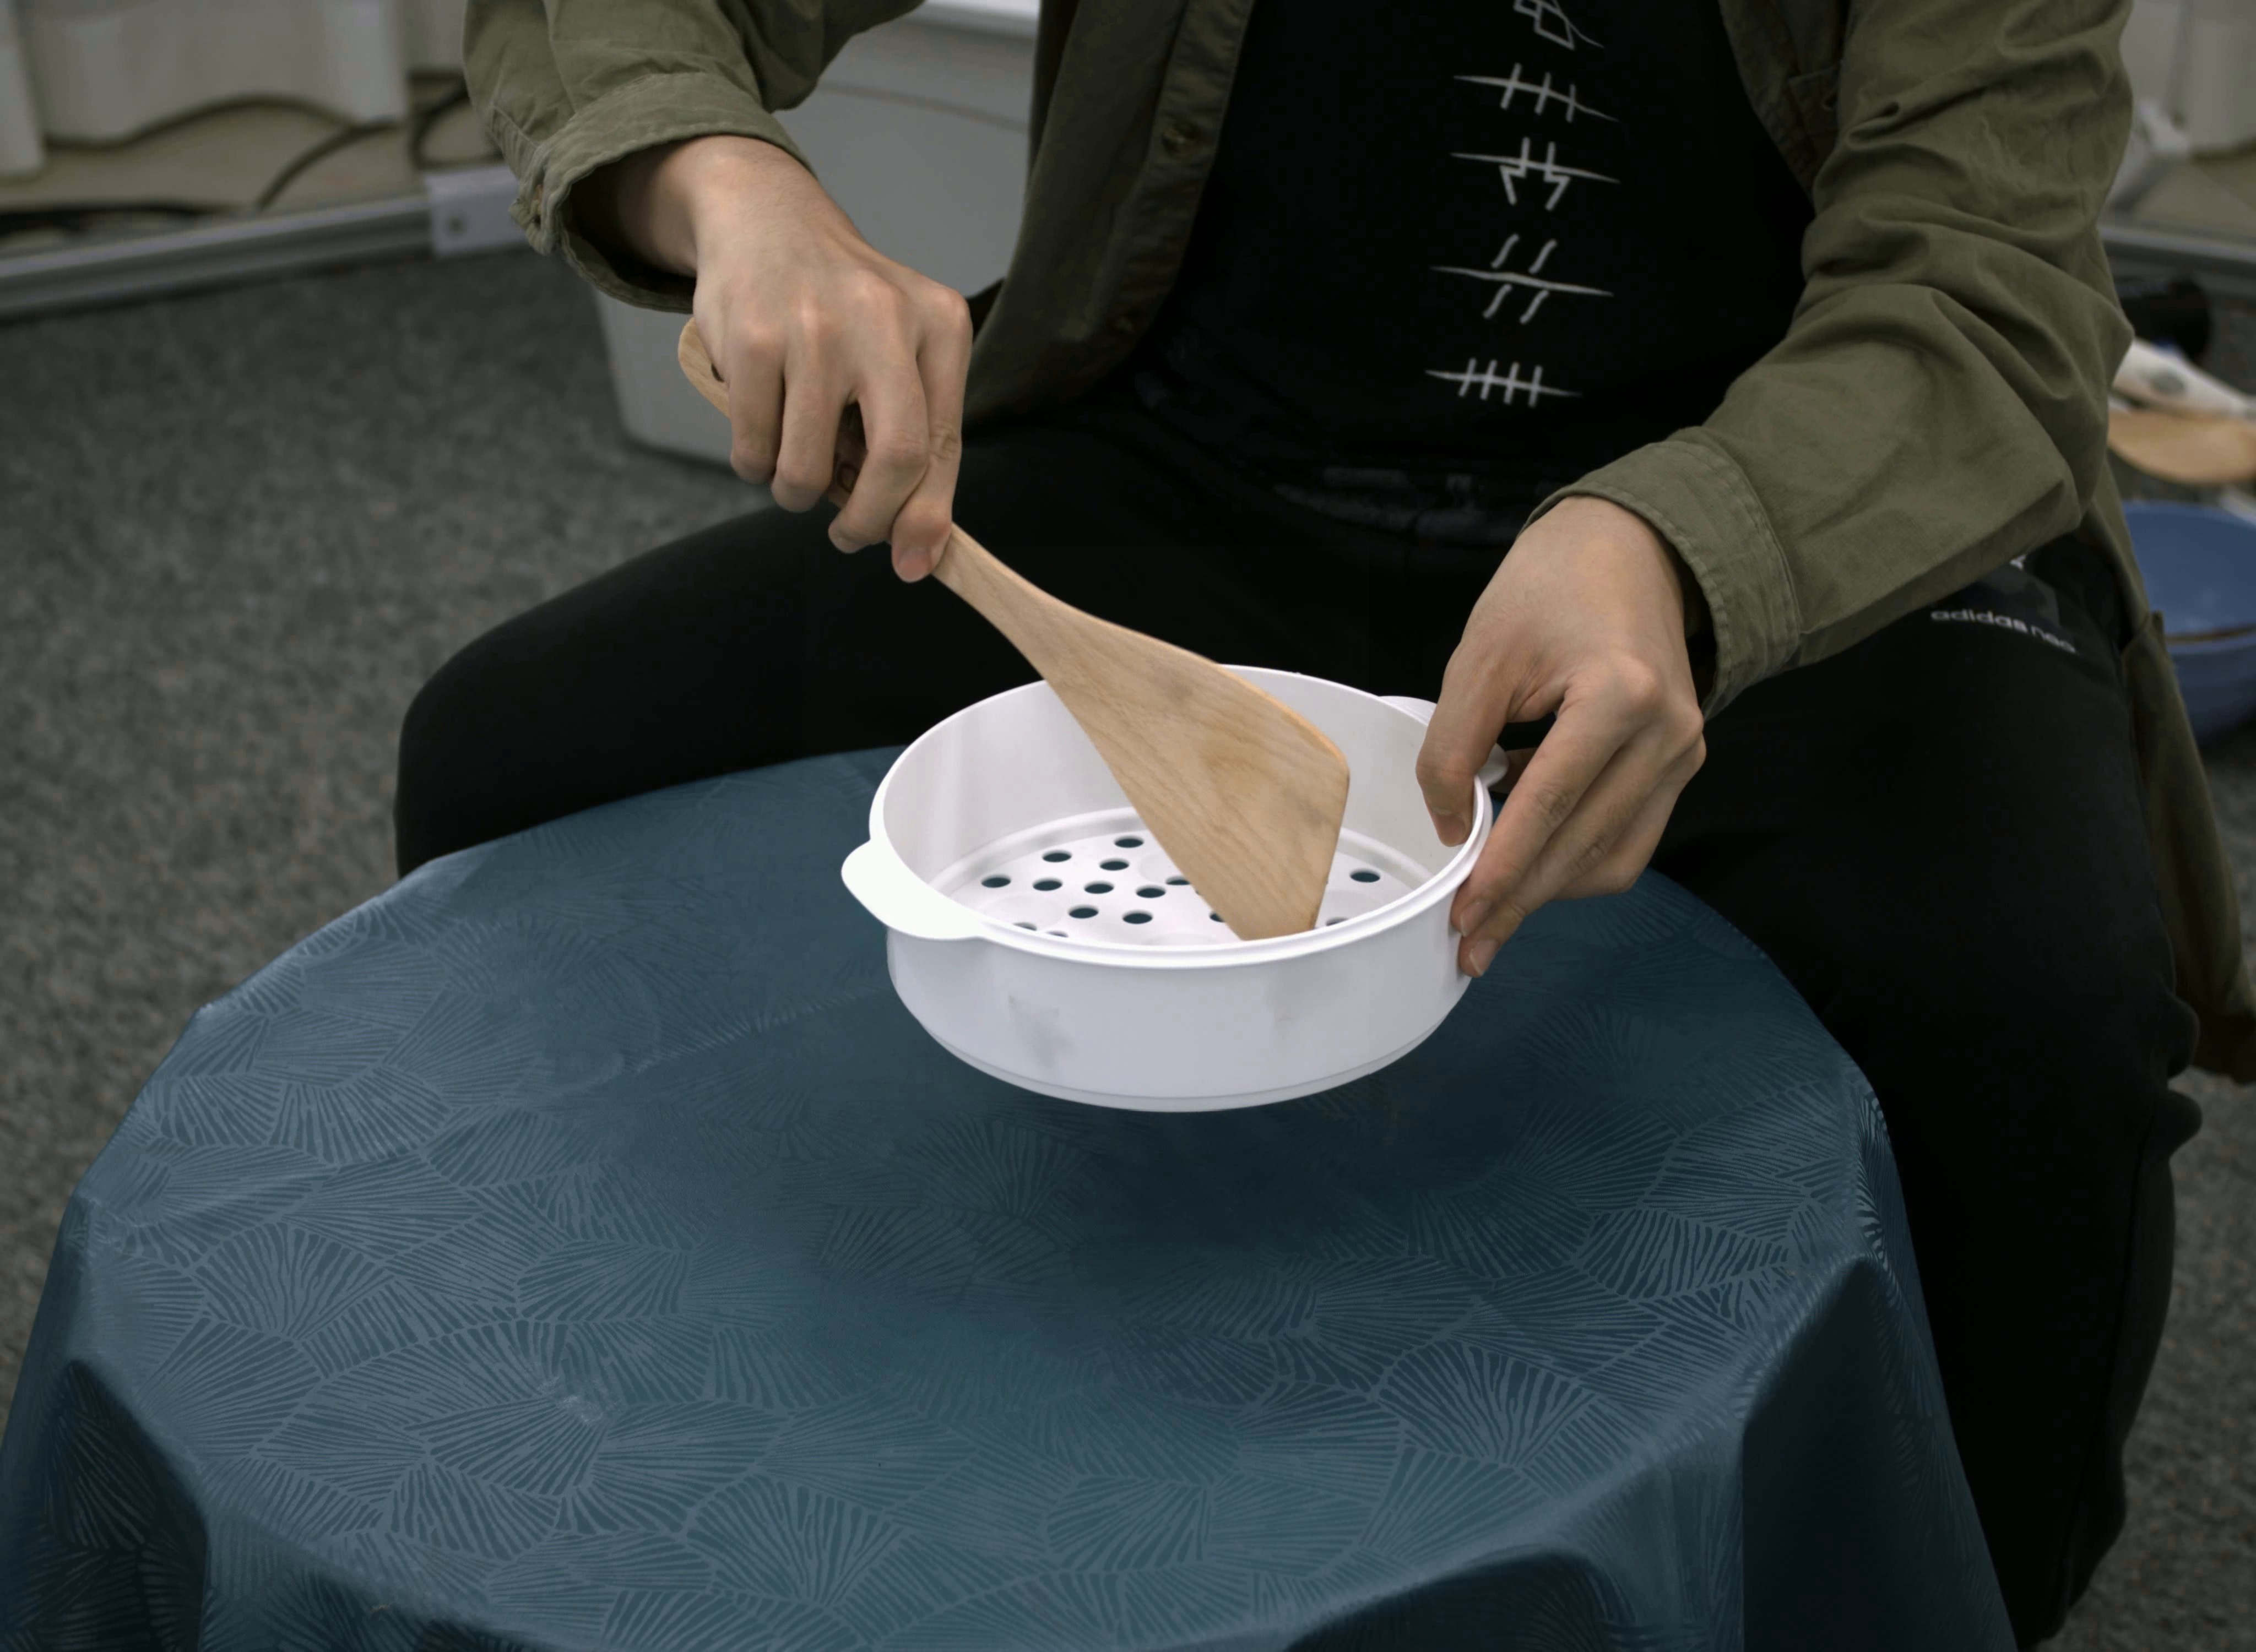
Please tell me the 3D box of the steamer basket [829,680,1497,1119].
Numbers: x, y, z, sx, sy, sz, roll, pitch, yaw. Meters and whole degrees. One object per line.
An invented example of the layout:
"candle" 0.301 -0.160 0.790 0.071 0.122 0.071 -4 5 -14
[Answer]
"steamer basket" 0.013 0.023 1.825 0.232 0.068 0.203 -14 31 -27

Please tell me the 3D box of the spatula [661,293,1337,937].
"spatula" -0.047 -0.083 1.841 0.329 0.079 0.016 39 33 28
